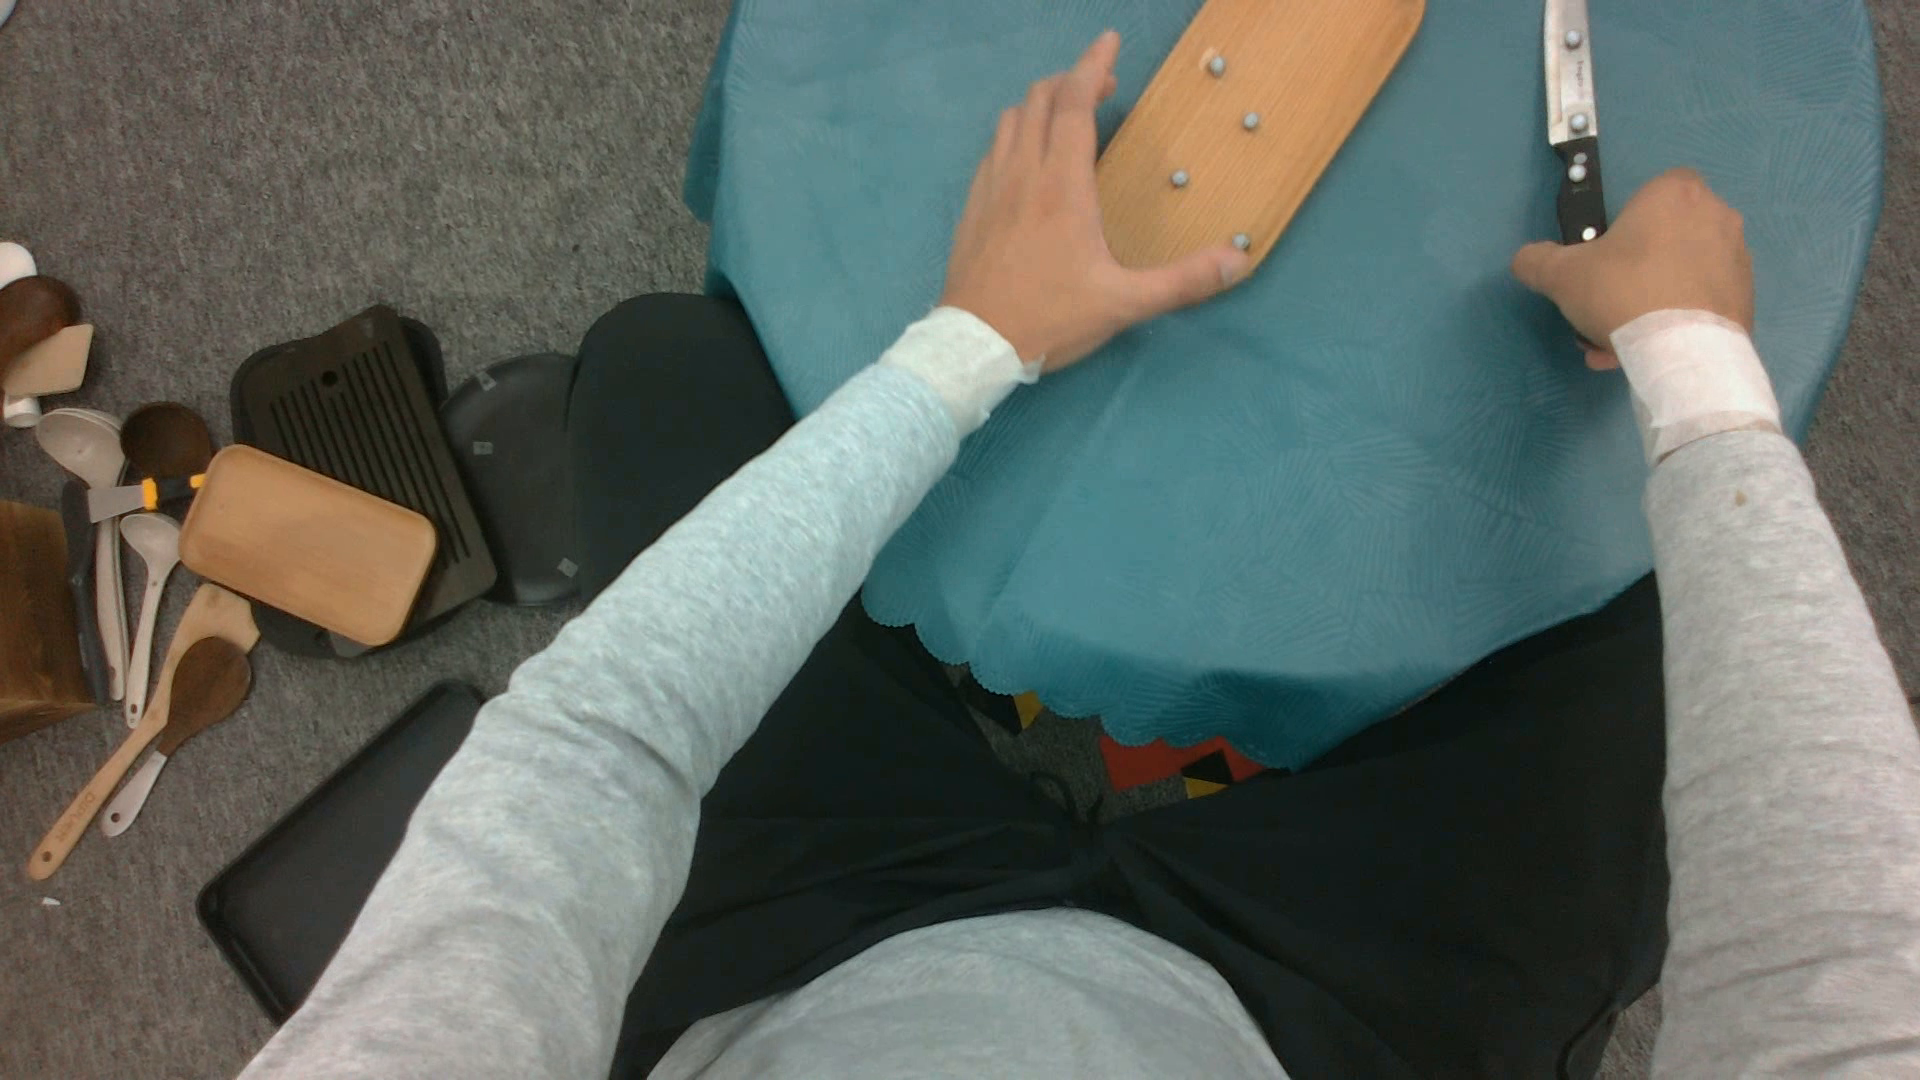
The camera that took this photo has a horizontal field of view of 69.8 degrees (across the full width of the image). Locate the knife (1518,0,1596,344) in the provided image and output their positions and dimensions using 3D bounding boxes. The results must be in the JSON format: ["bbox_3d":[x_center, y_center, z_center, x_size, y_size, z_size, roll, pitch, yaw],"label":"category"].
[{"bbox_3d":[0.301,-0.210,0.695,0.024,0.016,0.239,-8,70,29],"label":"knife"}]

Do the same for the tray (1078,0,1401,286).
[{"bbox_3d":[0.146,-0.235,0.721,0.101,0.020,0.231,31,83,7],"label":"tray"}]
